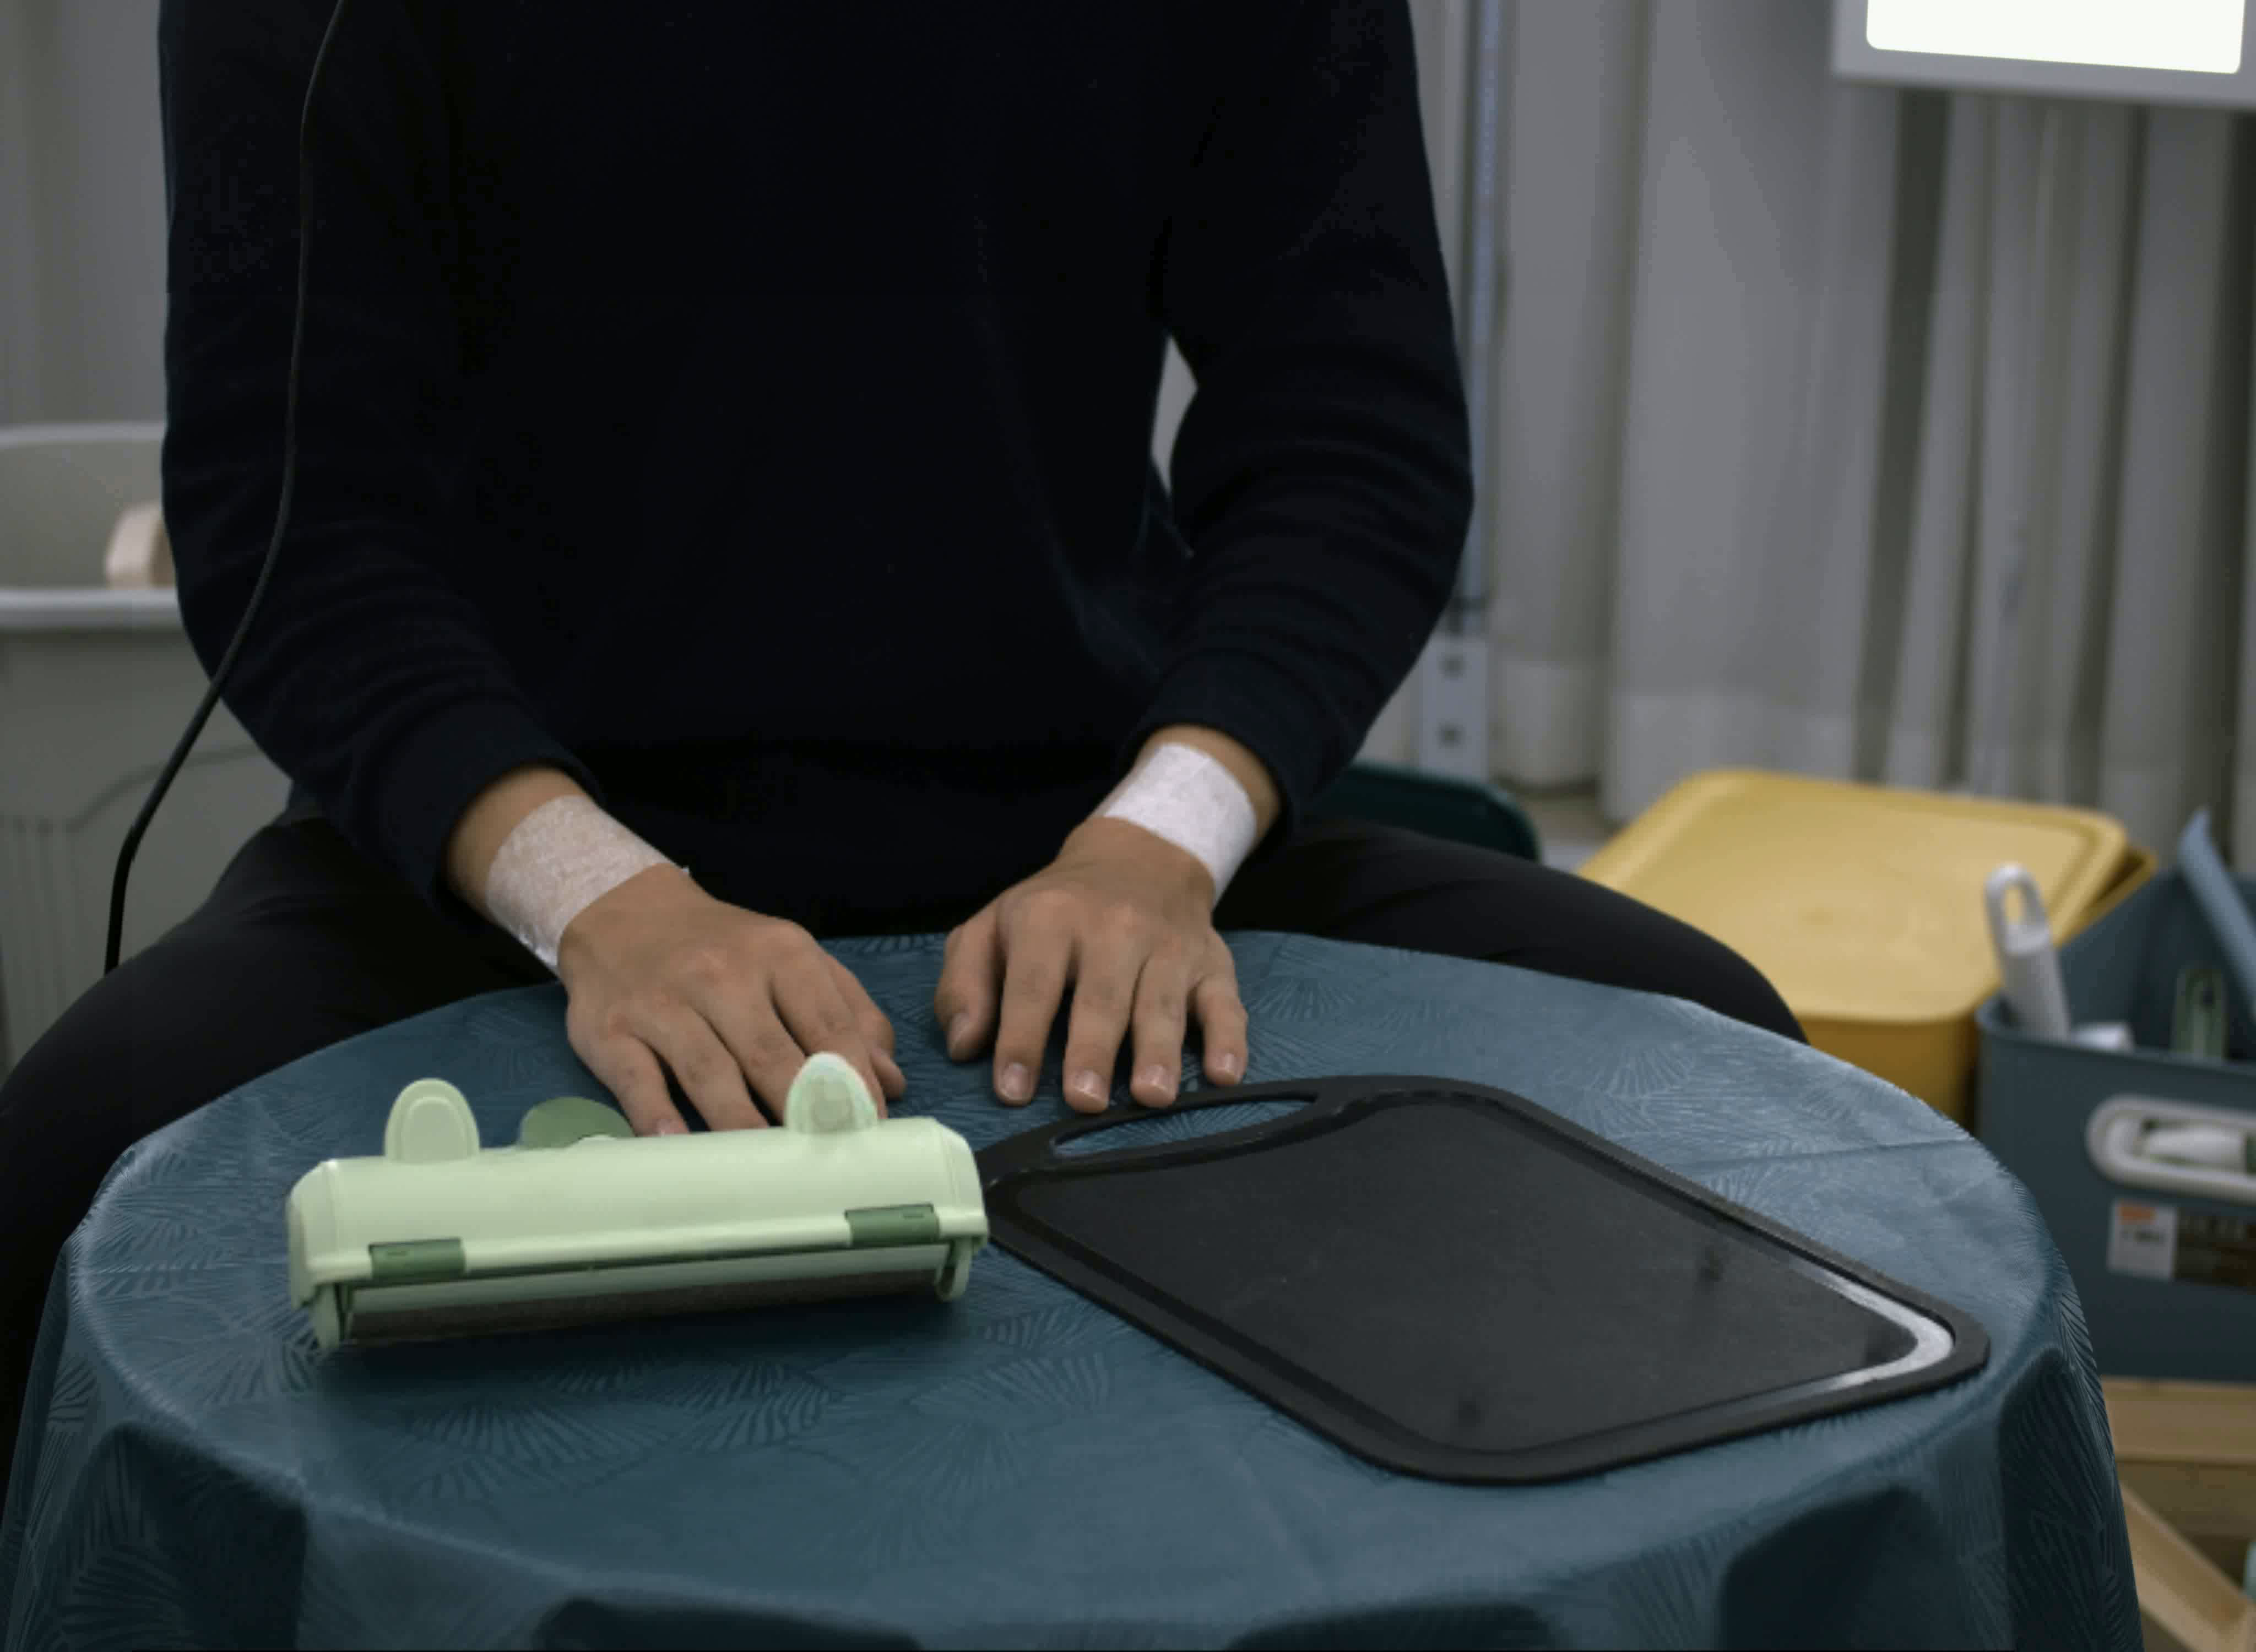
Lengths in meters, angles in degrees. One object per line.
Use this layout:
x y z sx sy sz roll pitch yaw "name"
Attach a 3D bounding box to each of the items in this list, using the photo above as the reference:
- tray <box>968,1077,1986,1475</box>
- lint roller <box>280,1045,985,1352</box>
0.088 0.125 1.566 0.212 0.010 0.321 -9 18 -30 "tray"
-0.156 0.088 1.545 0.199 0.083 0.181 -3 23 -16 "lint roller"
